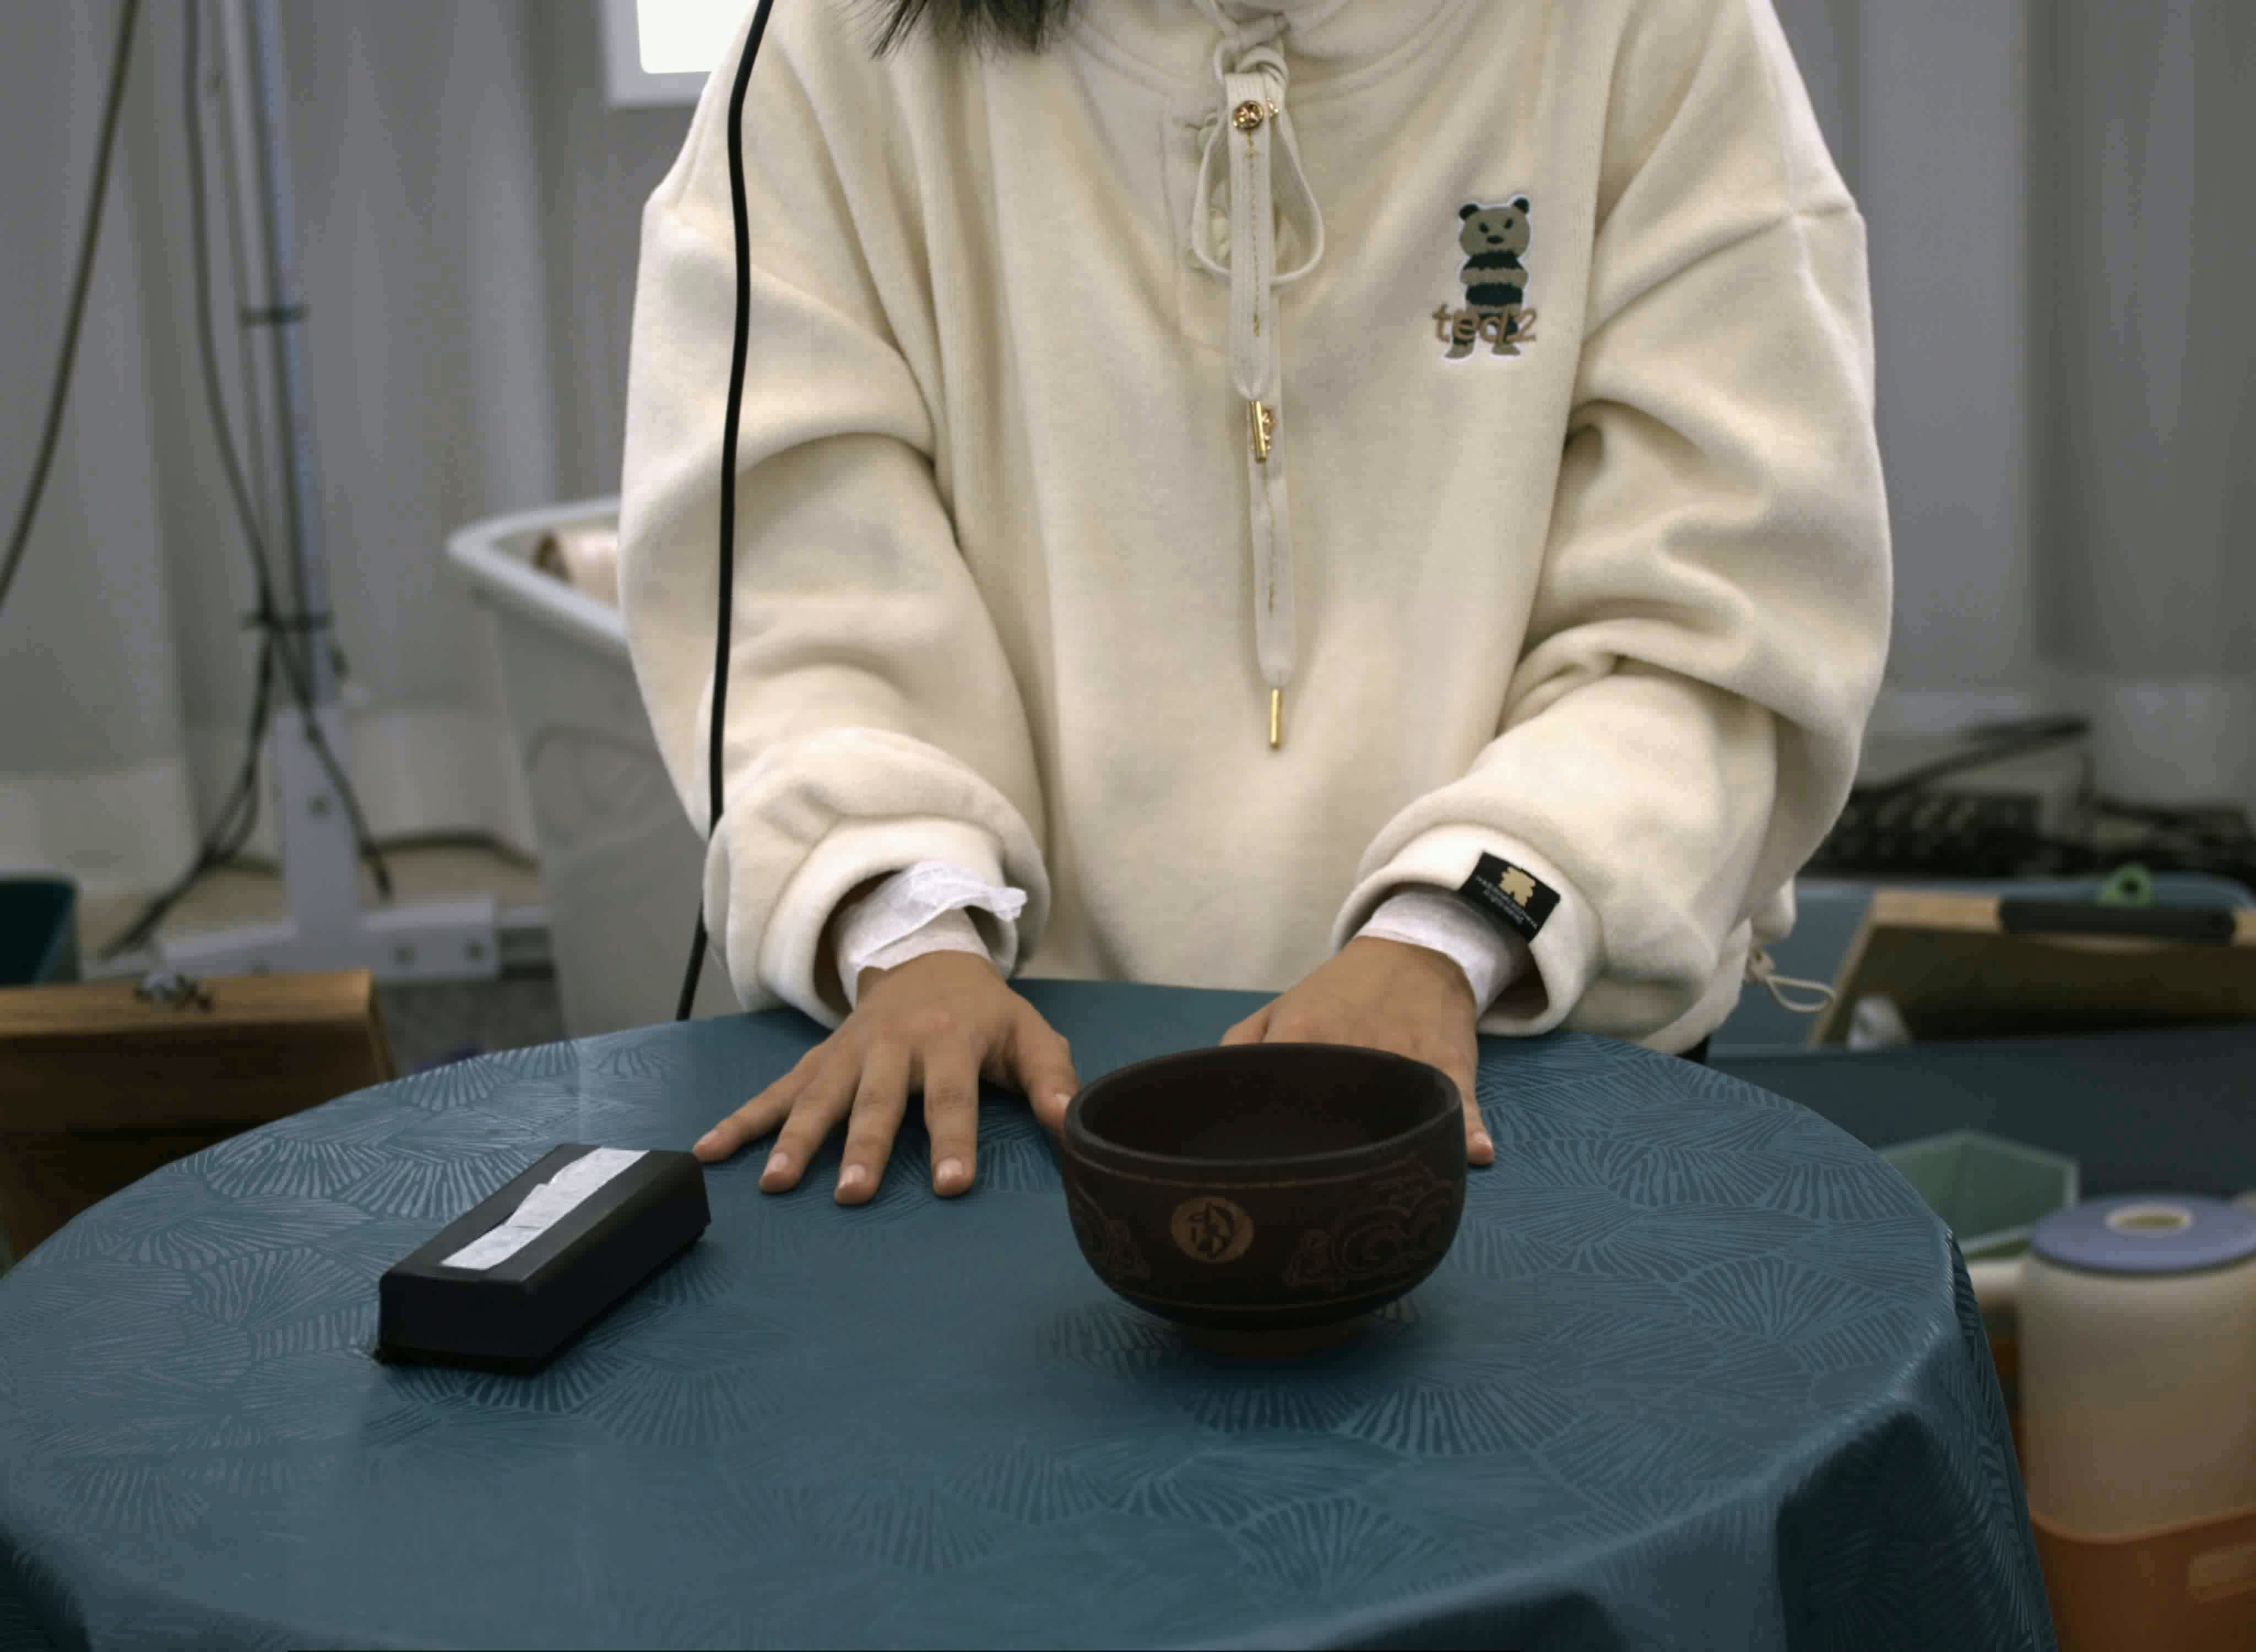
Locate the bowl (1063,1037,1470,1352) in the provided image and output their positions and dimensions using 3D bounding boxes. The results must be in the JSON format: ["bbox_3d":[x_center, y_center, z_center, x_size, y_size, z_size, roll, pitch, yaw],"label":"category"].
[{"bbox_3d":[0.041,0.110,1.583,0.117,0.069,0.119,-3,13,0],"label":"bowl"}]

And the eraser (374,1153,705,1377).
[{"bbox_3d":[-0.174,0.130,1.637,0.053,0.030,0.126,3,14,19],"label":"eraser"}]
